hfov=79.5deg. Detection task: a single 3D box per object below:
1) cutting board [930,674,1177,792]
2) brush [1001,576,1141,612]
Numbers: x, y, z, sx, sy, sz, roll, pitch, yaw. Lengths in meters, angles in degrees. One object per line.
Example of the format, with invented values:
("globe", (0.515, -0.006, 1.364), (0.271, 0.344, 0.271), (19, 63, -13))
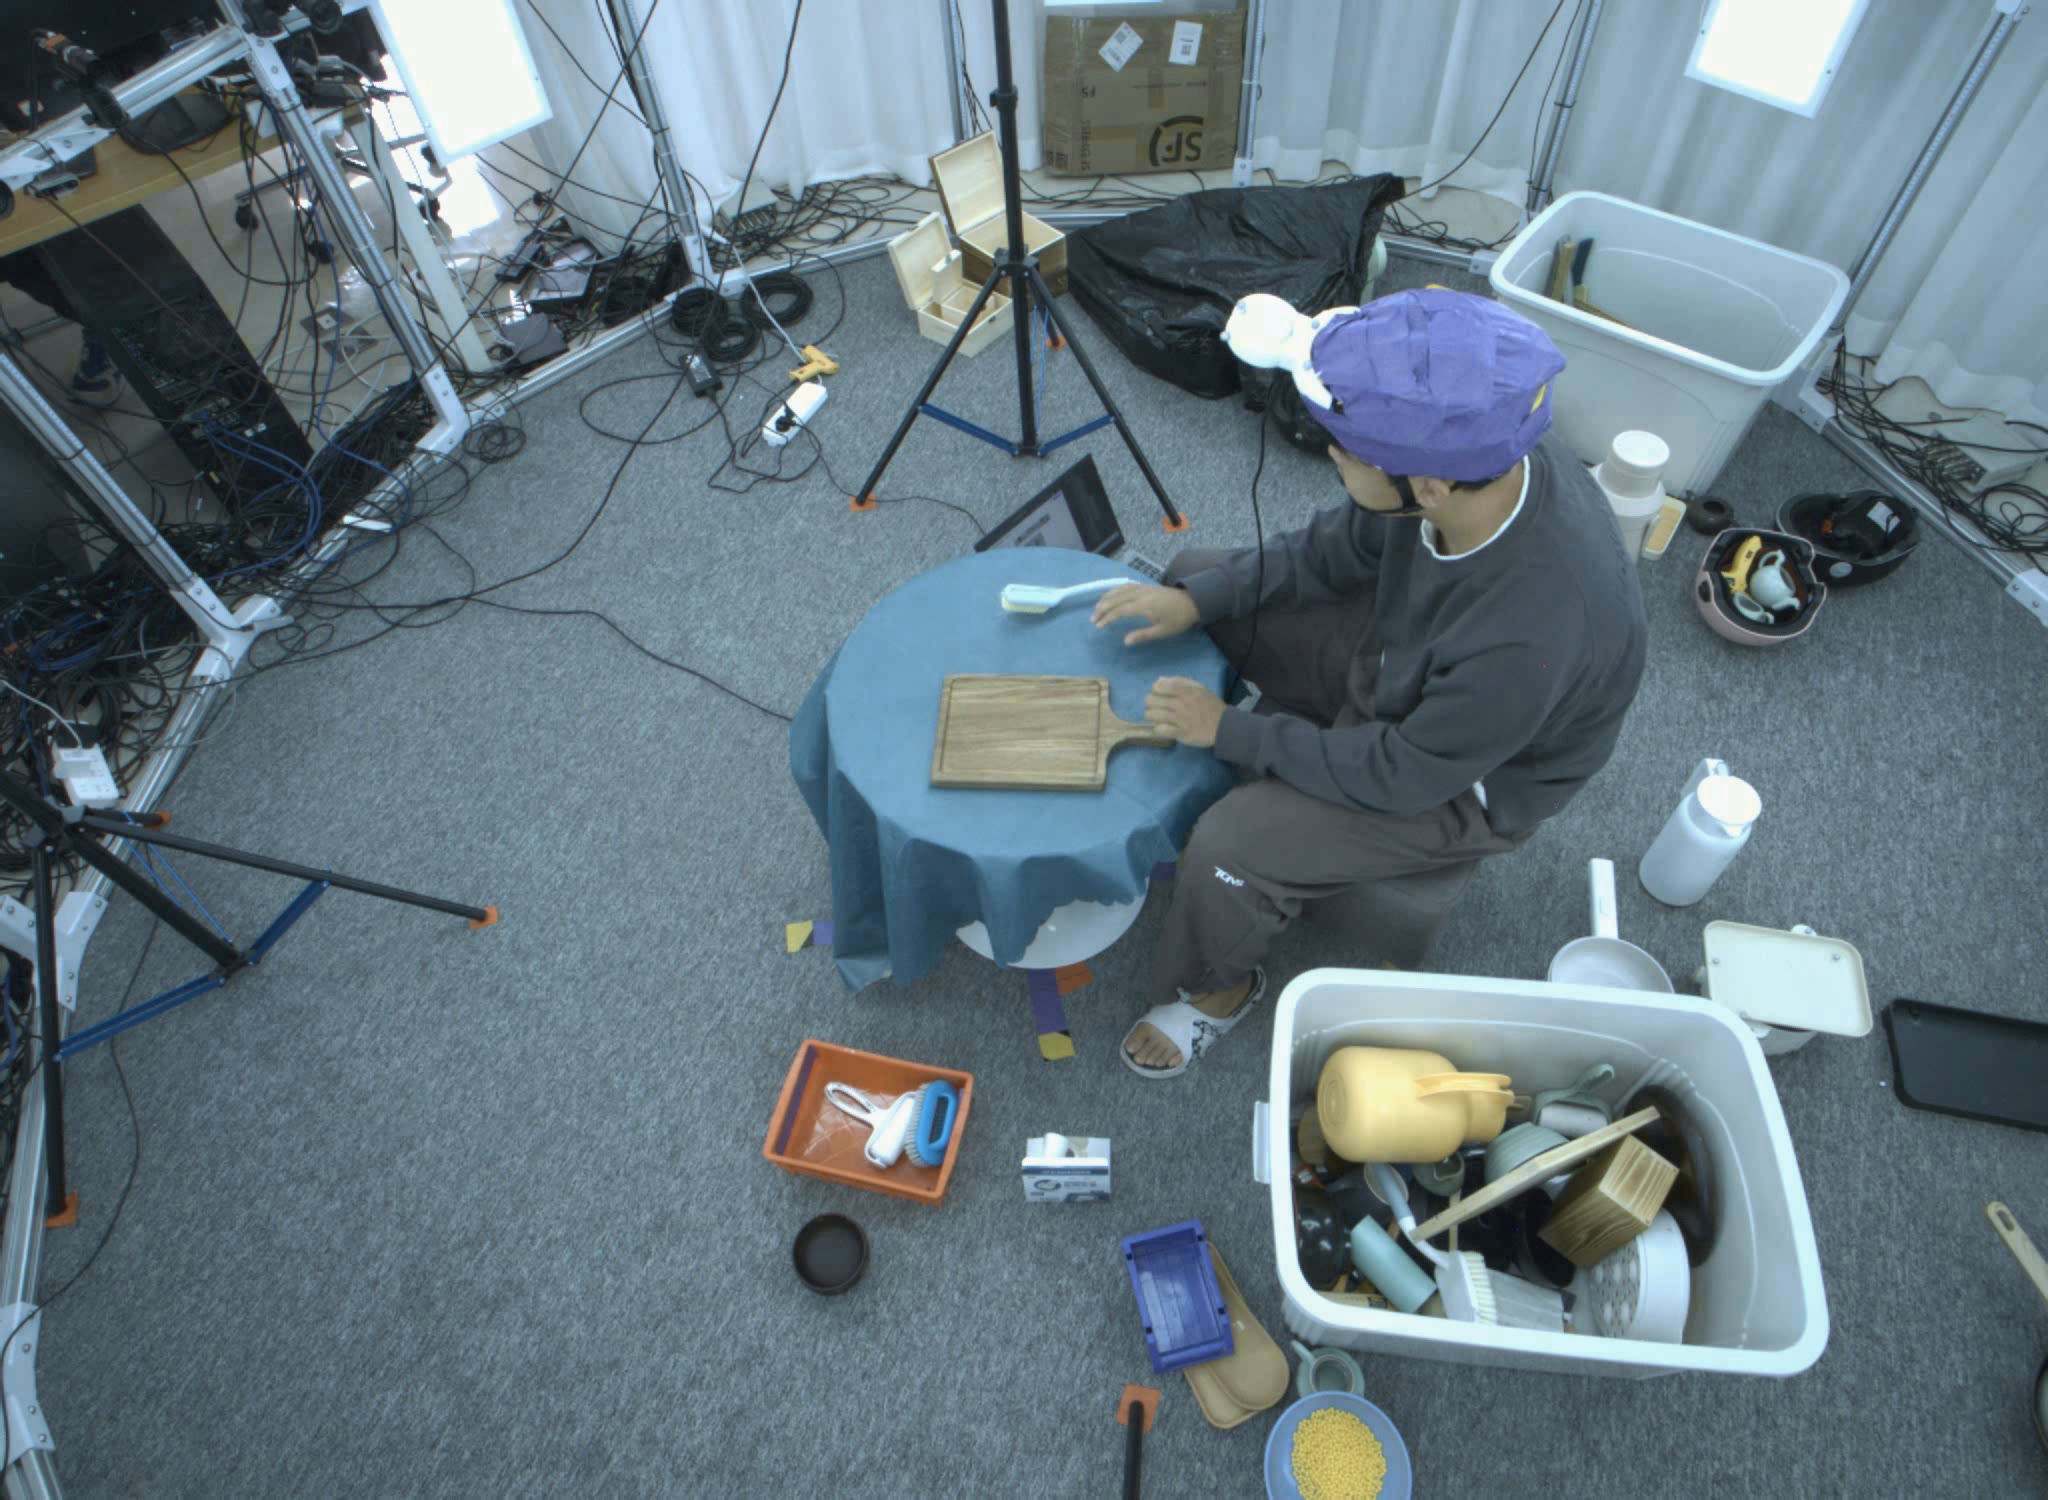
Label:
("cutting board", (0.046, -0.026, 1.793), (0.351, 0.023, 0.199), (2, 55, 3))
("brush", (0.075, -0.248, 1.942), (0.231, 0.050, 0.037), (-9, 60, -15))
